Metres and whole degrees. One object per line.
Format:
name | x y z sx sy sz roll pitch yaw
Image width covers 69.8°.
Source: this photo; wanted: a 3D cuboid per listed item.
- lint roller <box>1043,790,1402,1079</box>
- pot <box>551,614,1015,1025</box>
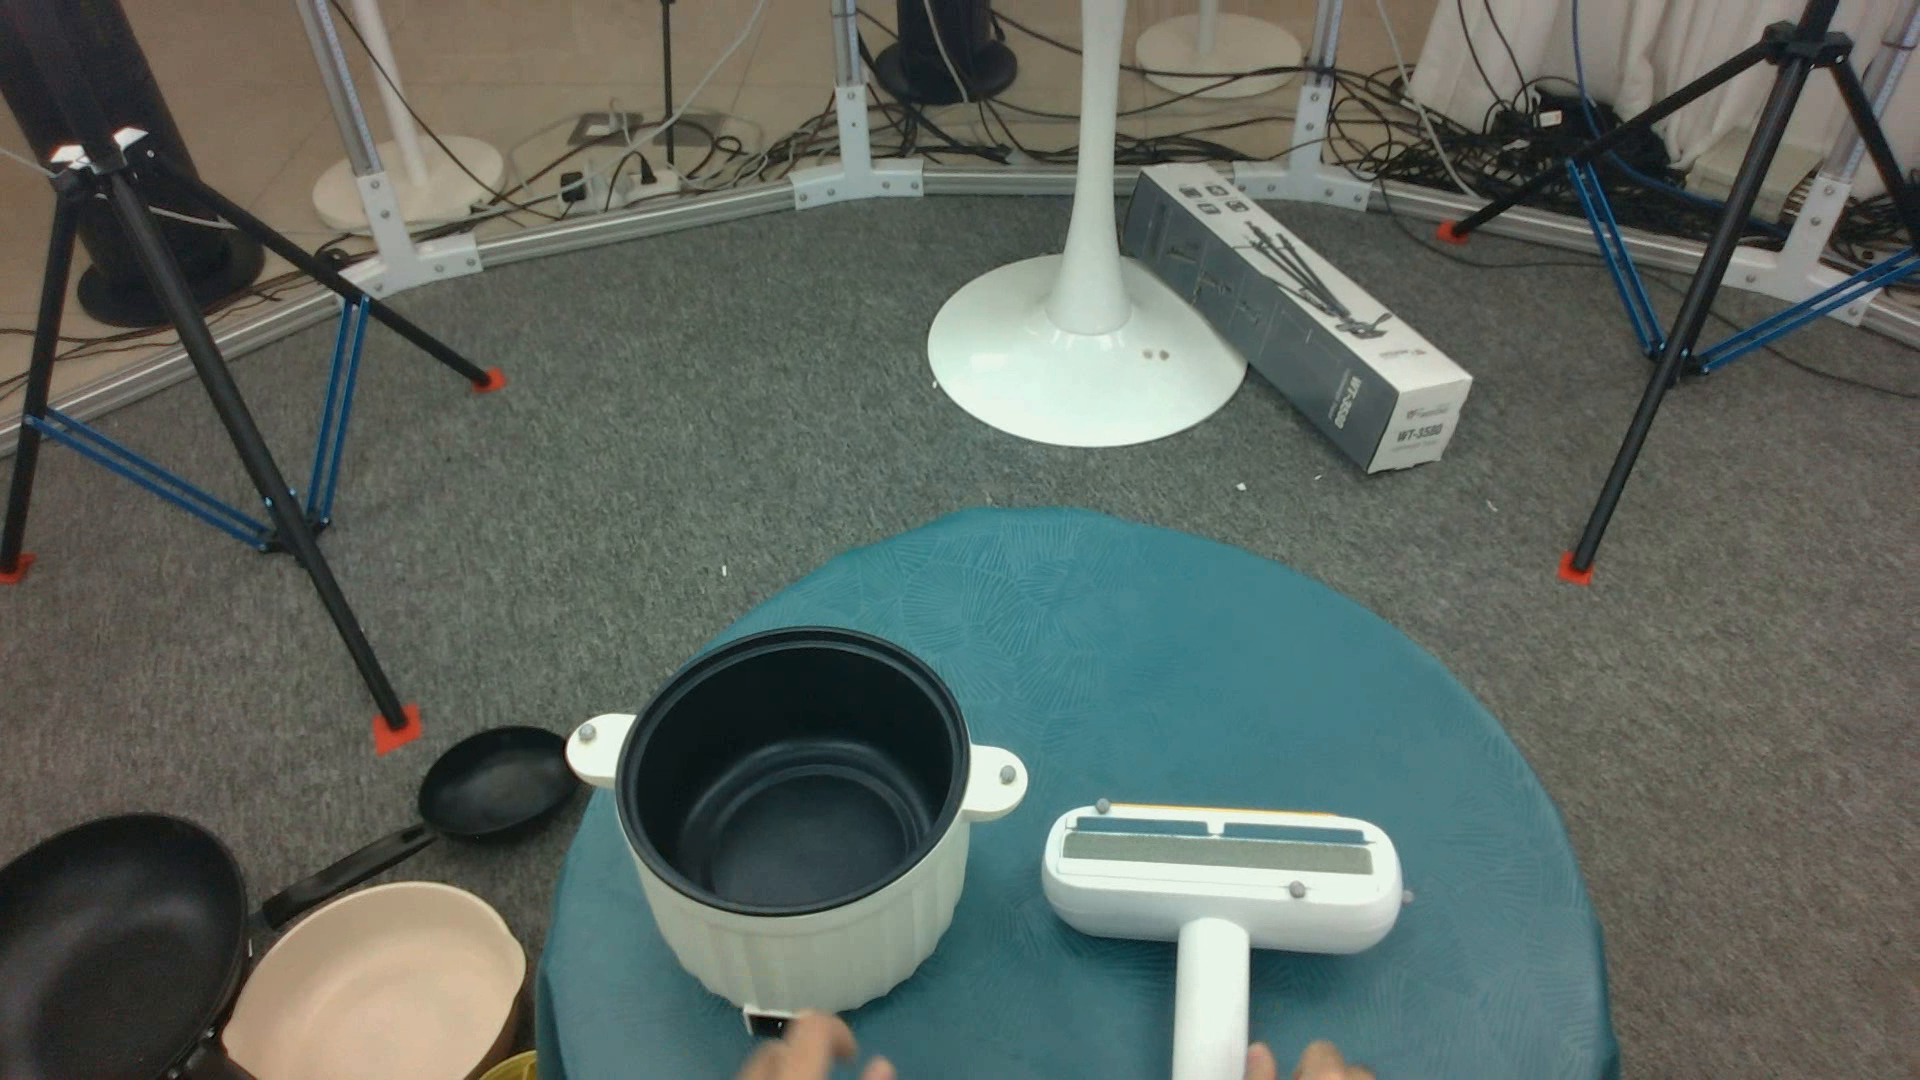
lint roller | 0.129 0.224 0.724 0.192 0.074 0.193 6 46 13
pot | -0.092 0.147 0.753 0.240 0.142 0.191 5 47 3
